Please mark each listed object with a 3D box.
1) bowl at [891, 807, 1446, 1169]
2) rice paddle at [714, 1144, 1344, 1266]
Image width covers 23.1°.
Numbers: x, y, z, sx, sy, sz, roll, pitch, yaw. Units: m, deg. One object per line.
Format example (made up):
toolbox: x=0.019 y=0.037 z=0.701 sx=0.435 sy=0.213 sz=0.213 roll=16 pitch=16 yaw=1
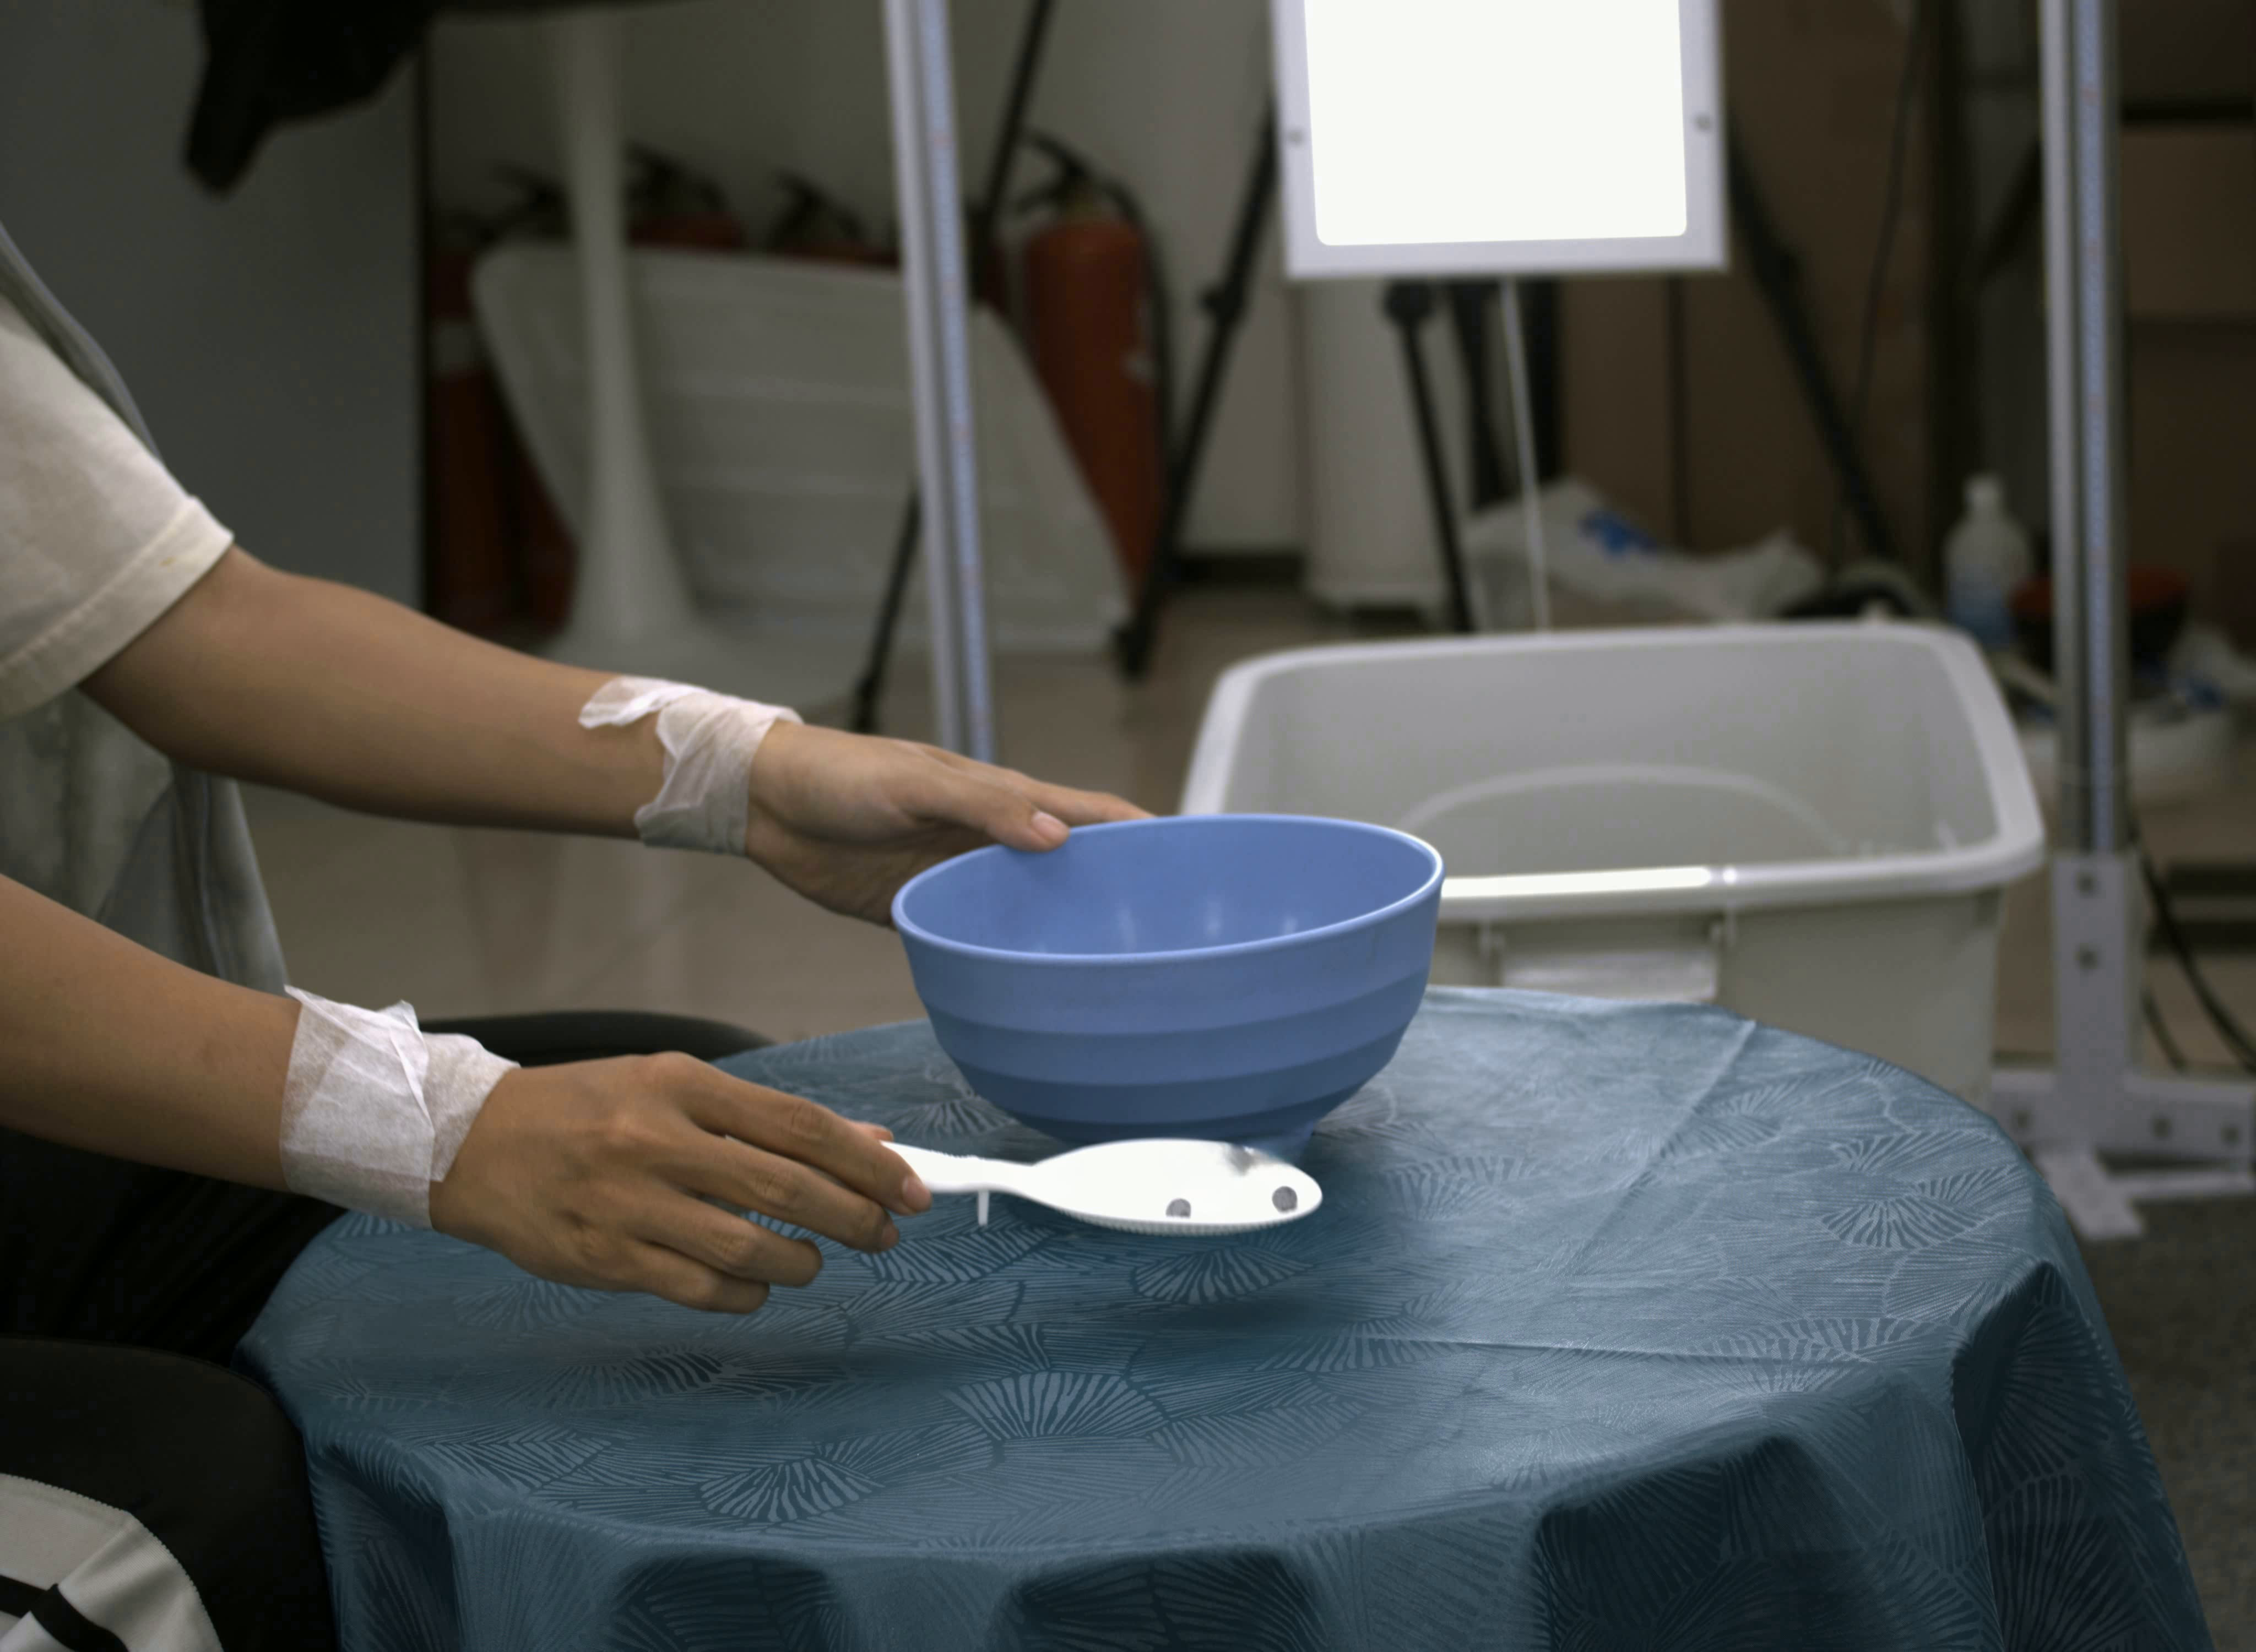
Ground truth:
bowl: x=0.017 y=0.063 z=1.944 sx=0.196 sy=0.096 sz=0.196 roll=-4 pitch=15 yaw=0
rice paddle: x=-0.029 y=0.114 z=1.758 sx=0.203 sy=0.029 sz=0.069 roll=-6 pitch=6 yaw=-11
